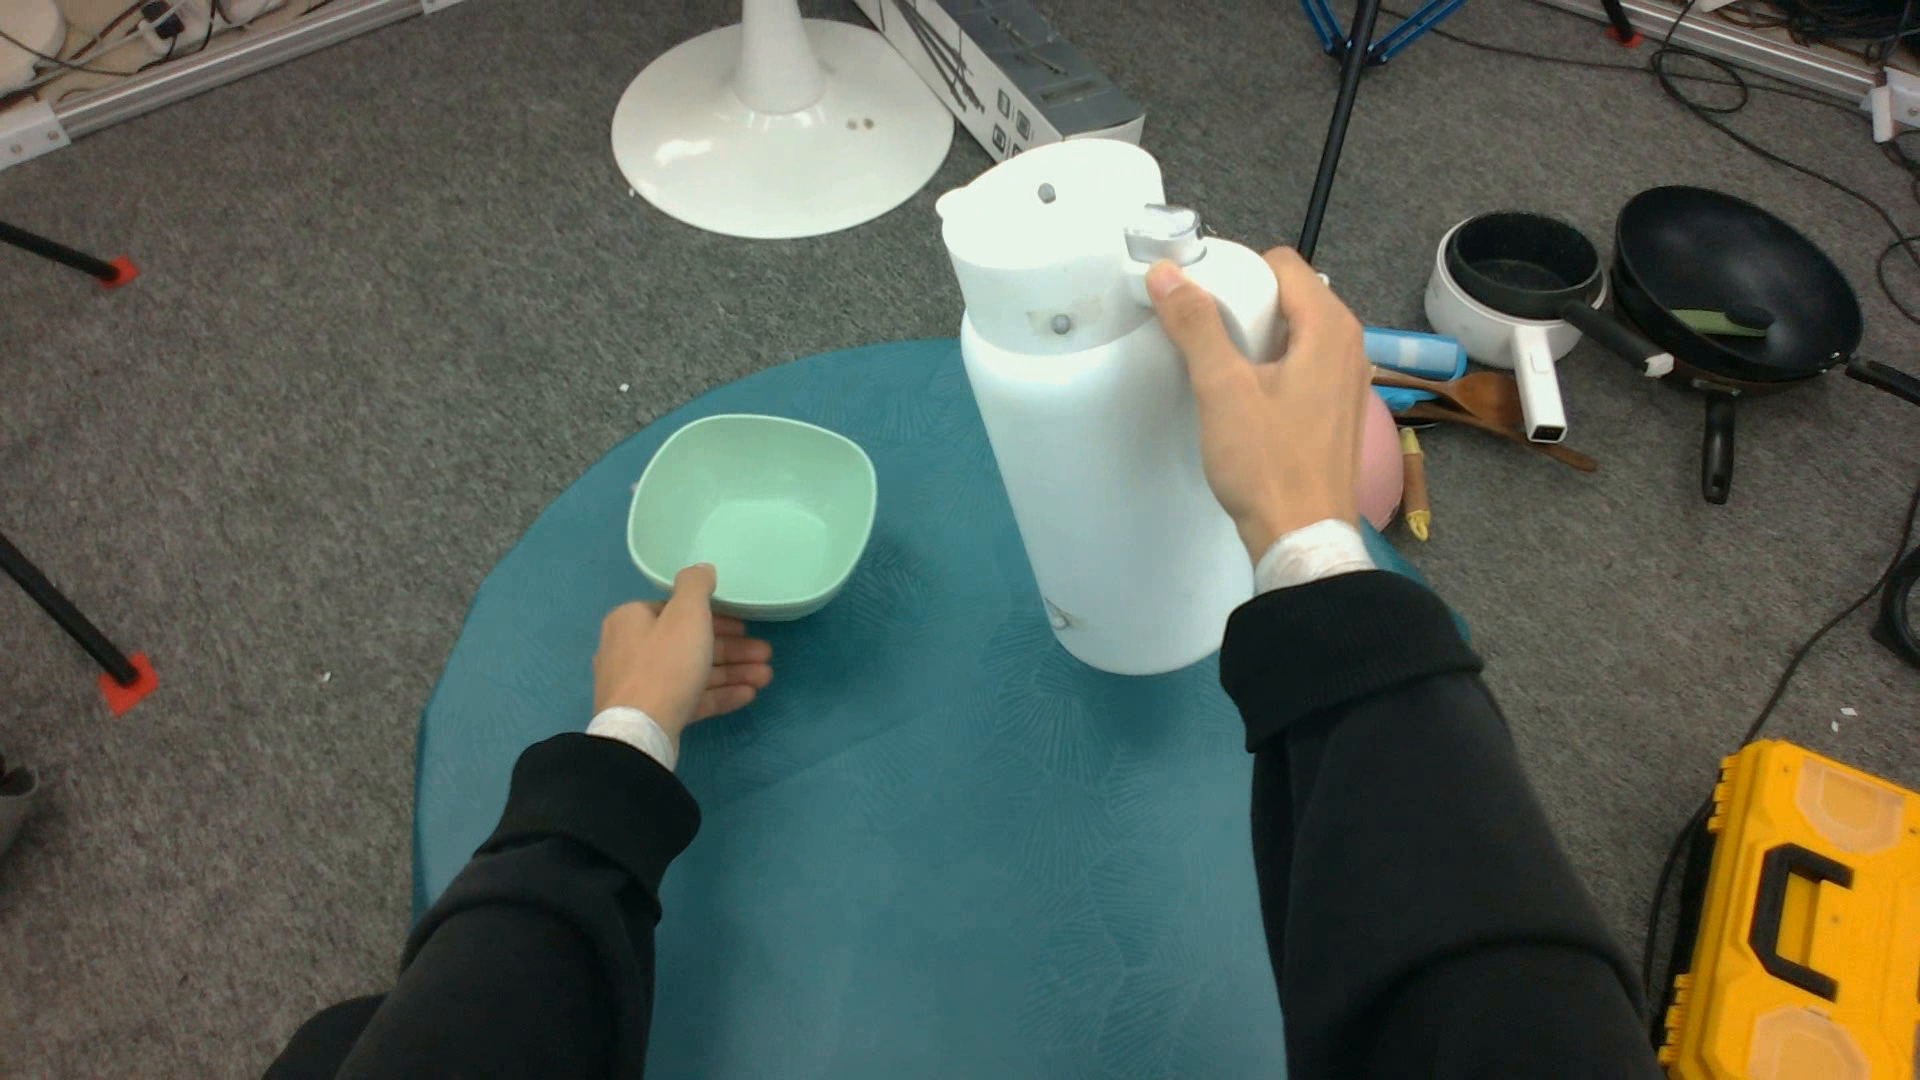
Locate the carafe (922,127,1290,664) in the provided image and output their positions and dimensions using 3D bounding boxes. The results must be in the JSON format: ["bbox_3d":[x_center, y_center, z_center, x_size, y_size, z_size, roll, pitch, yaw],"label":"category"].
[{"bbox_3d":[0.082,-0.059,0.681,0.172,0.268,0.124,21,54,37],"label":"carafe"}]

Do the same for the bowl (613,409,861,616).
[{"bbox_3d":[-0.130,-0.007,0.817,0.151,0.058,0.152,3,52,-4],"label":"bowl"}]
